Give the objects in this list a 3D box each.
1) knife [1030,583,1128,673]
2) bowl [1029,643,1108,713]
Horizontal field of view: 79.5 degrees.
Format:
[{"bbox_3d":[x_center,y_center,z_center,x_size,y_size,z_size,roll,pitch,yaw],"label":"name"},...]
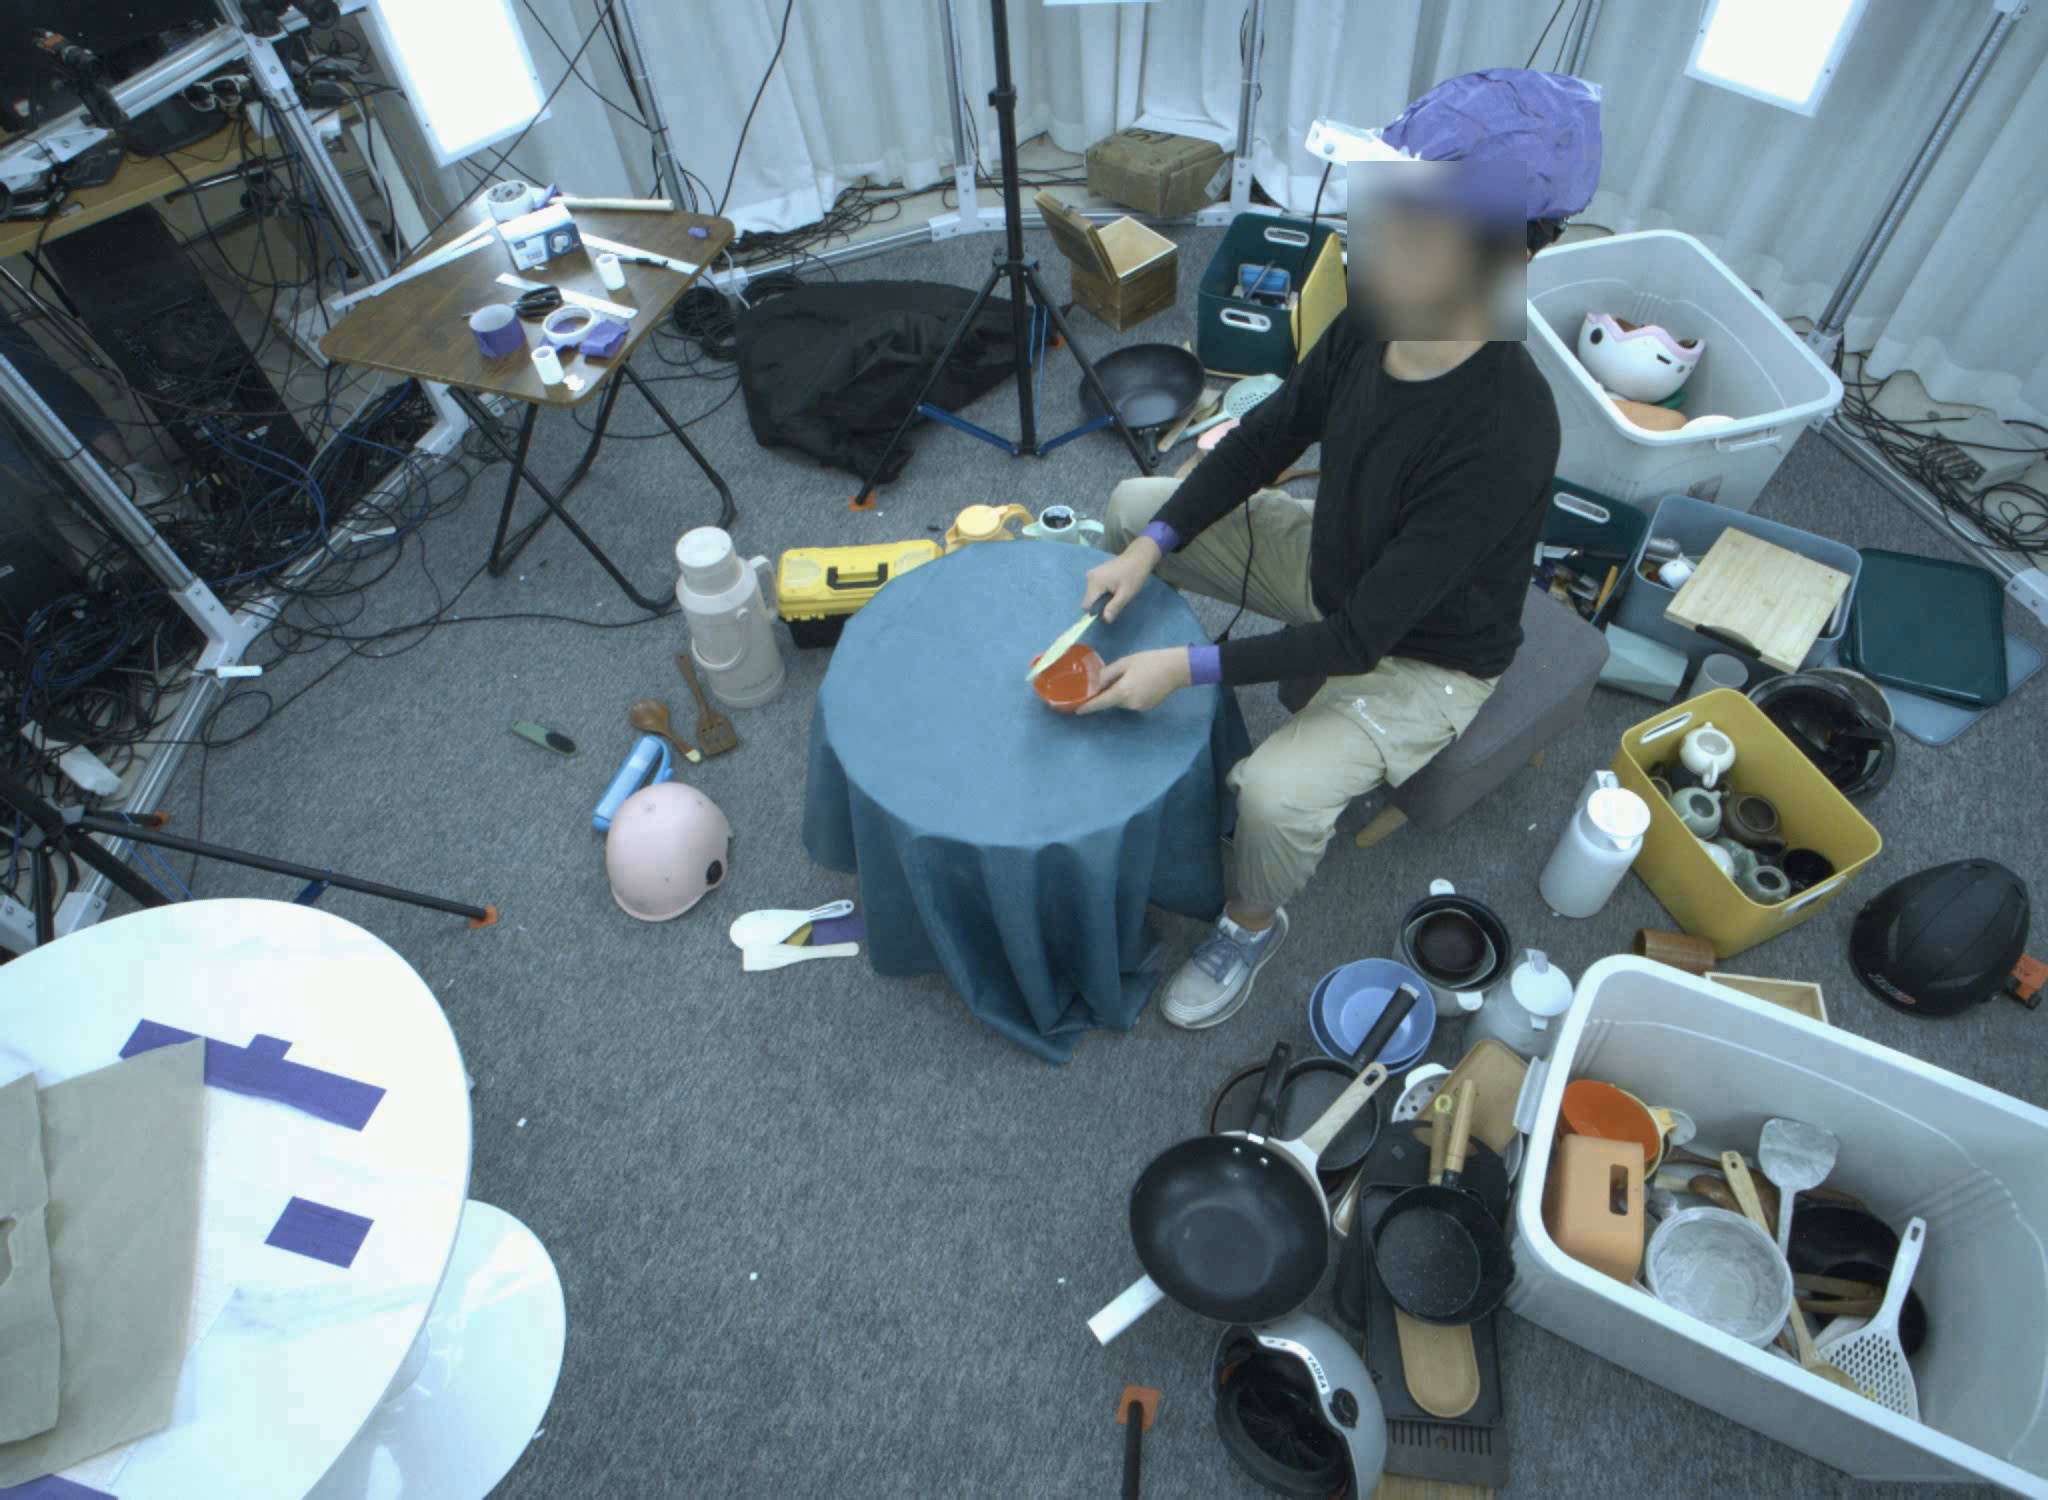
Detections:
[{"bbox_3d":[0.084,-0.181,1.831,0.027,0.080,0.291,57,41,-13],"label":"knife"},{"bbox_3d":[0.066,-0.099,1.819,0.119,0.052,0.117,-1,54,3],"label":"bowl"}]
